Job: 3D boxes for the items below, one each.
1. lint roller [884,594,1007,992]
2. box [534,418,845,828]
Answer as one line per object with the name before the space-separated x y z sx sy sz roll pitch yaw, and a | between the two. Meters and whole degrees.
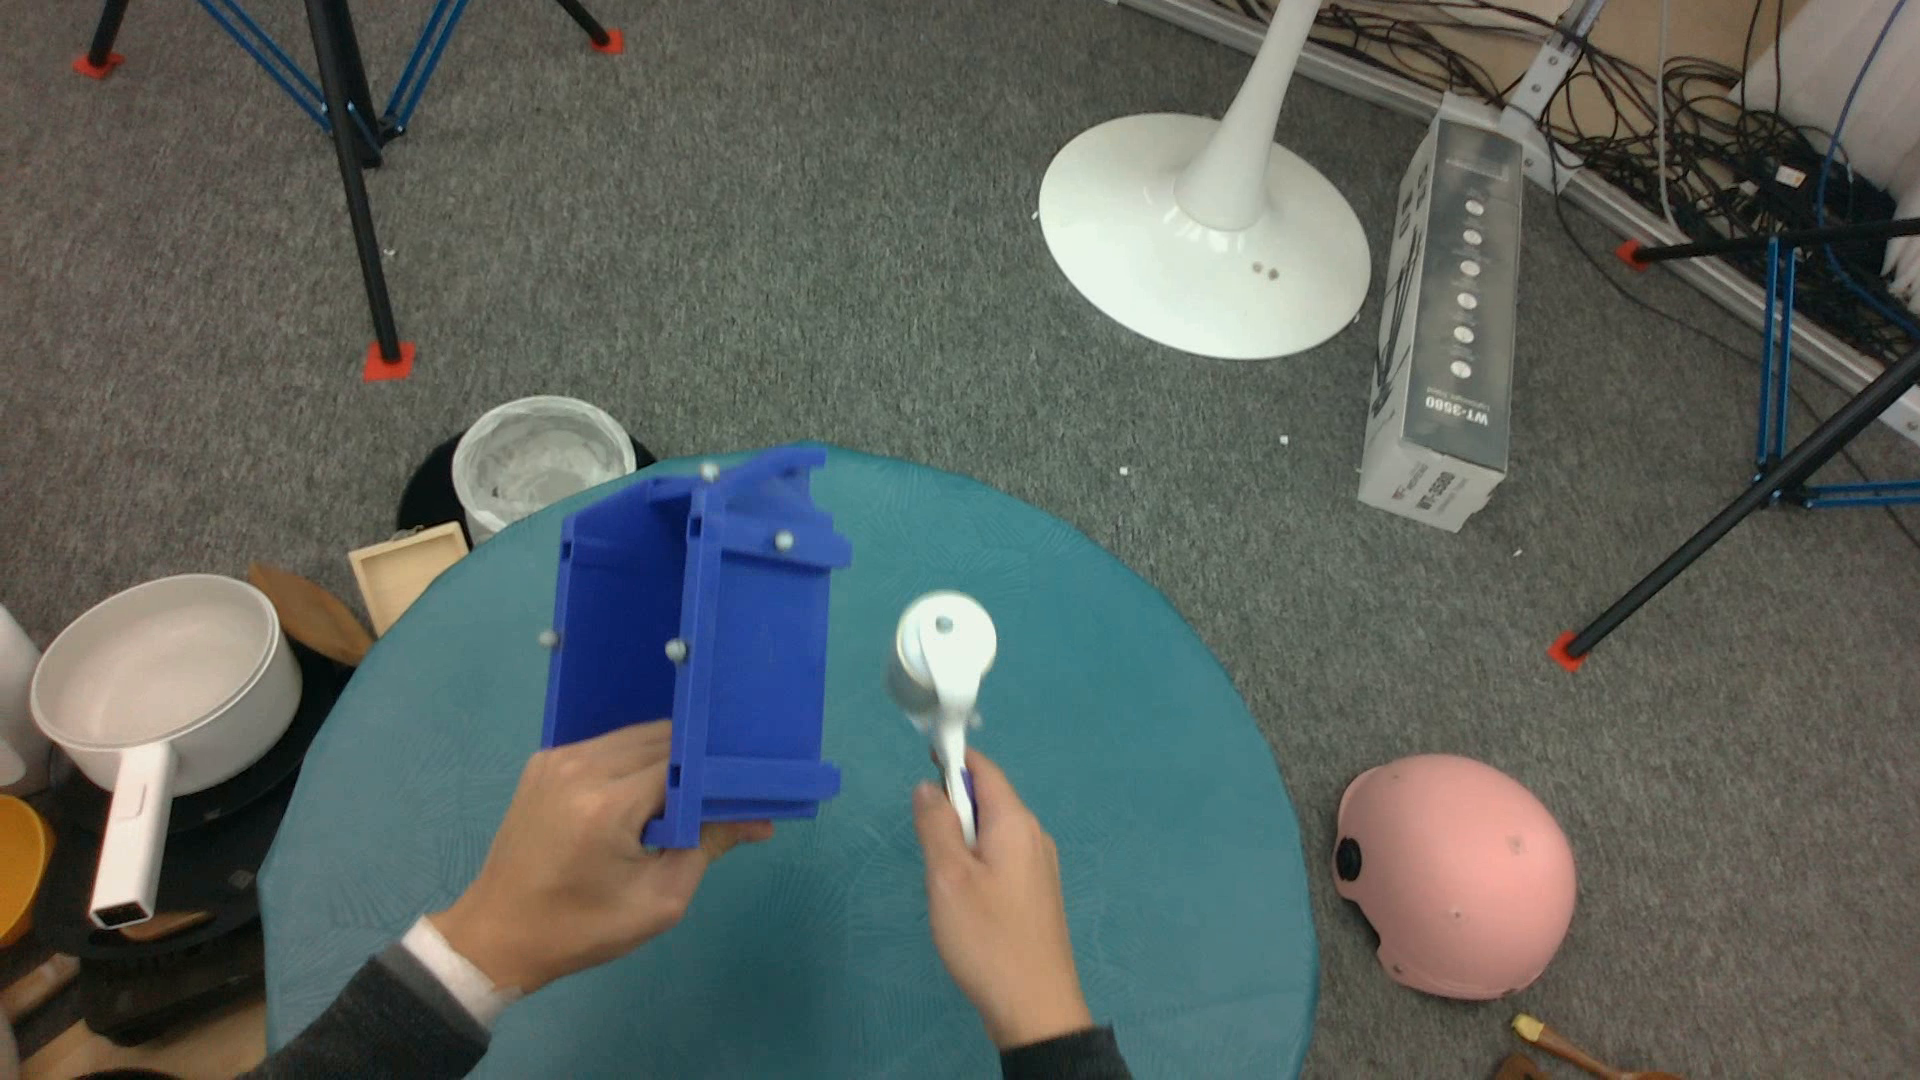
lint roller | 0.008 0.120 0.660 0.050 0.132 0.181 -16 75 -11
box | -0.125 0.036 0.631 0.082 0.124 0.179 9 78 -44
